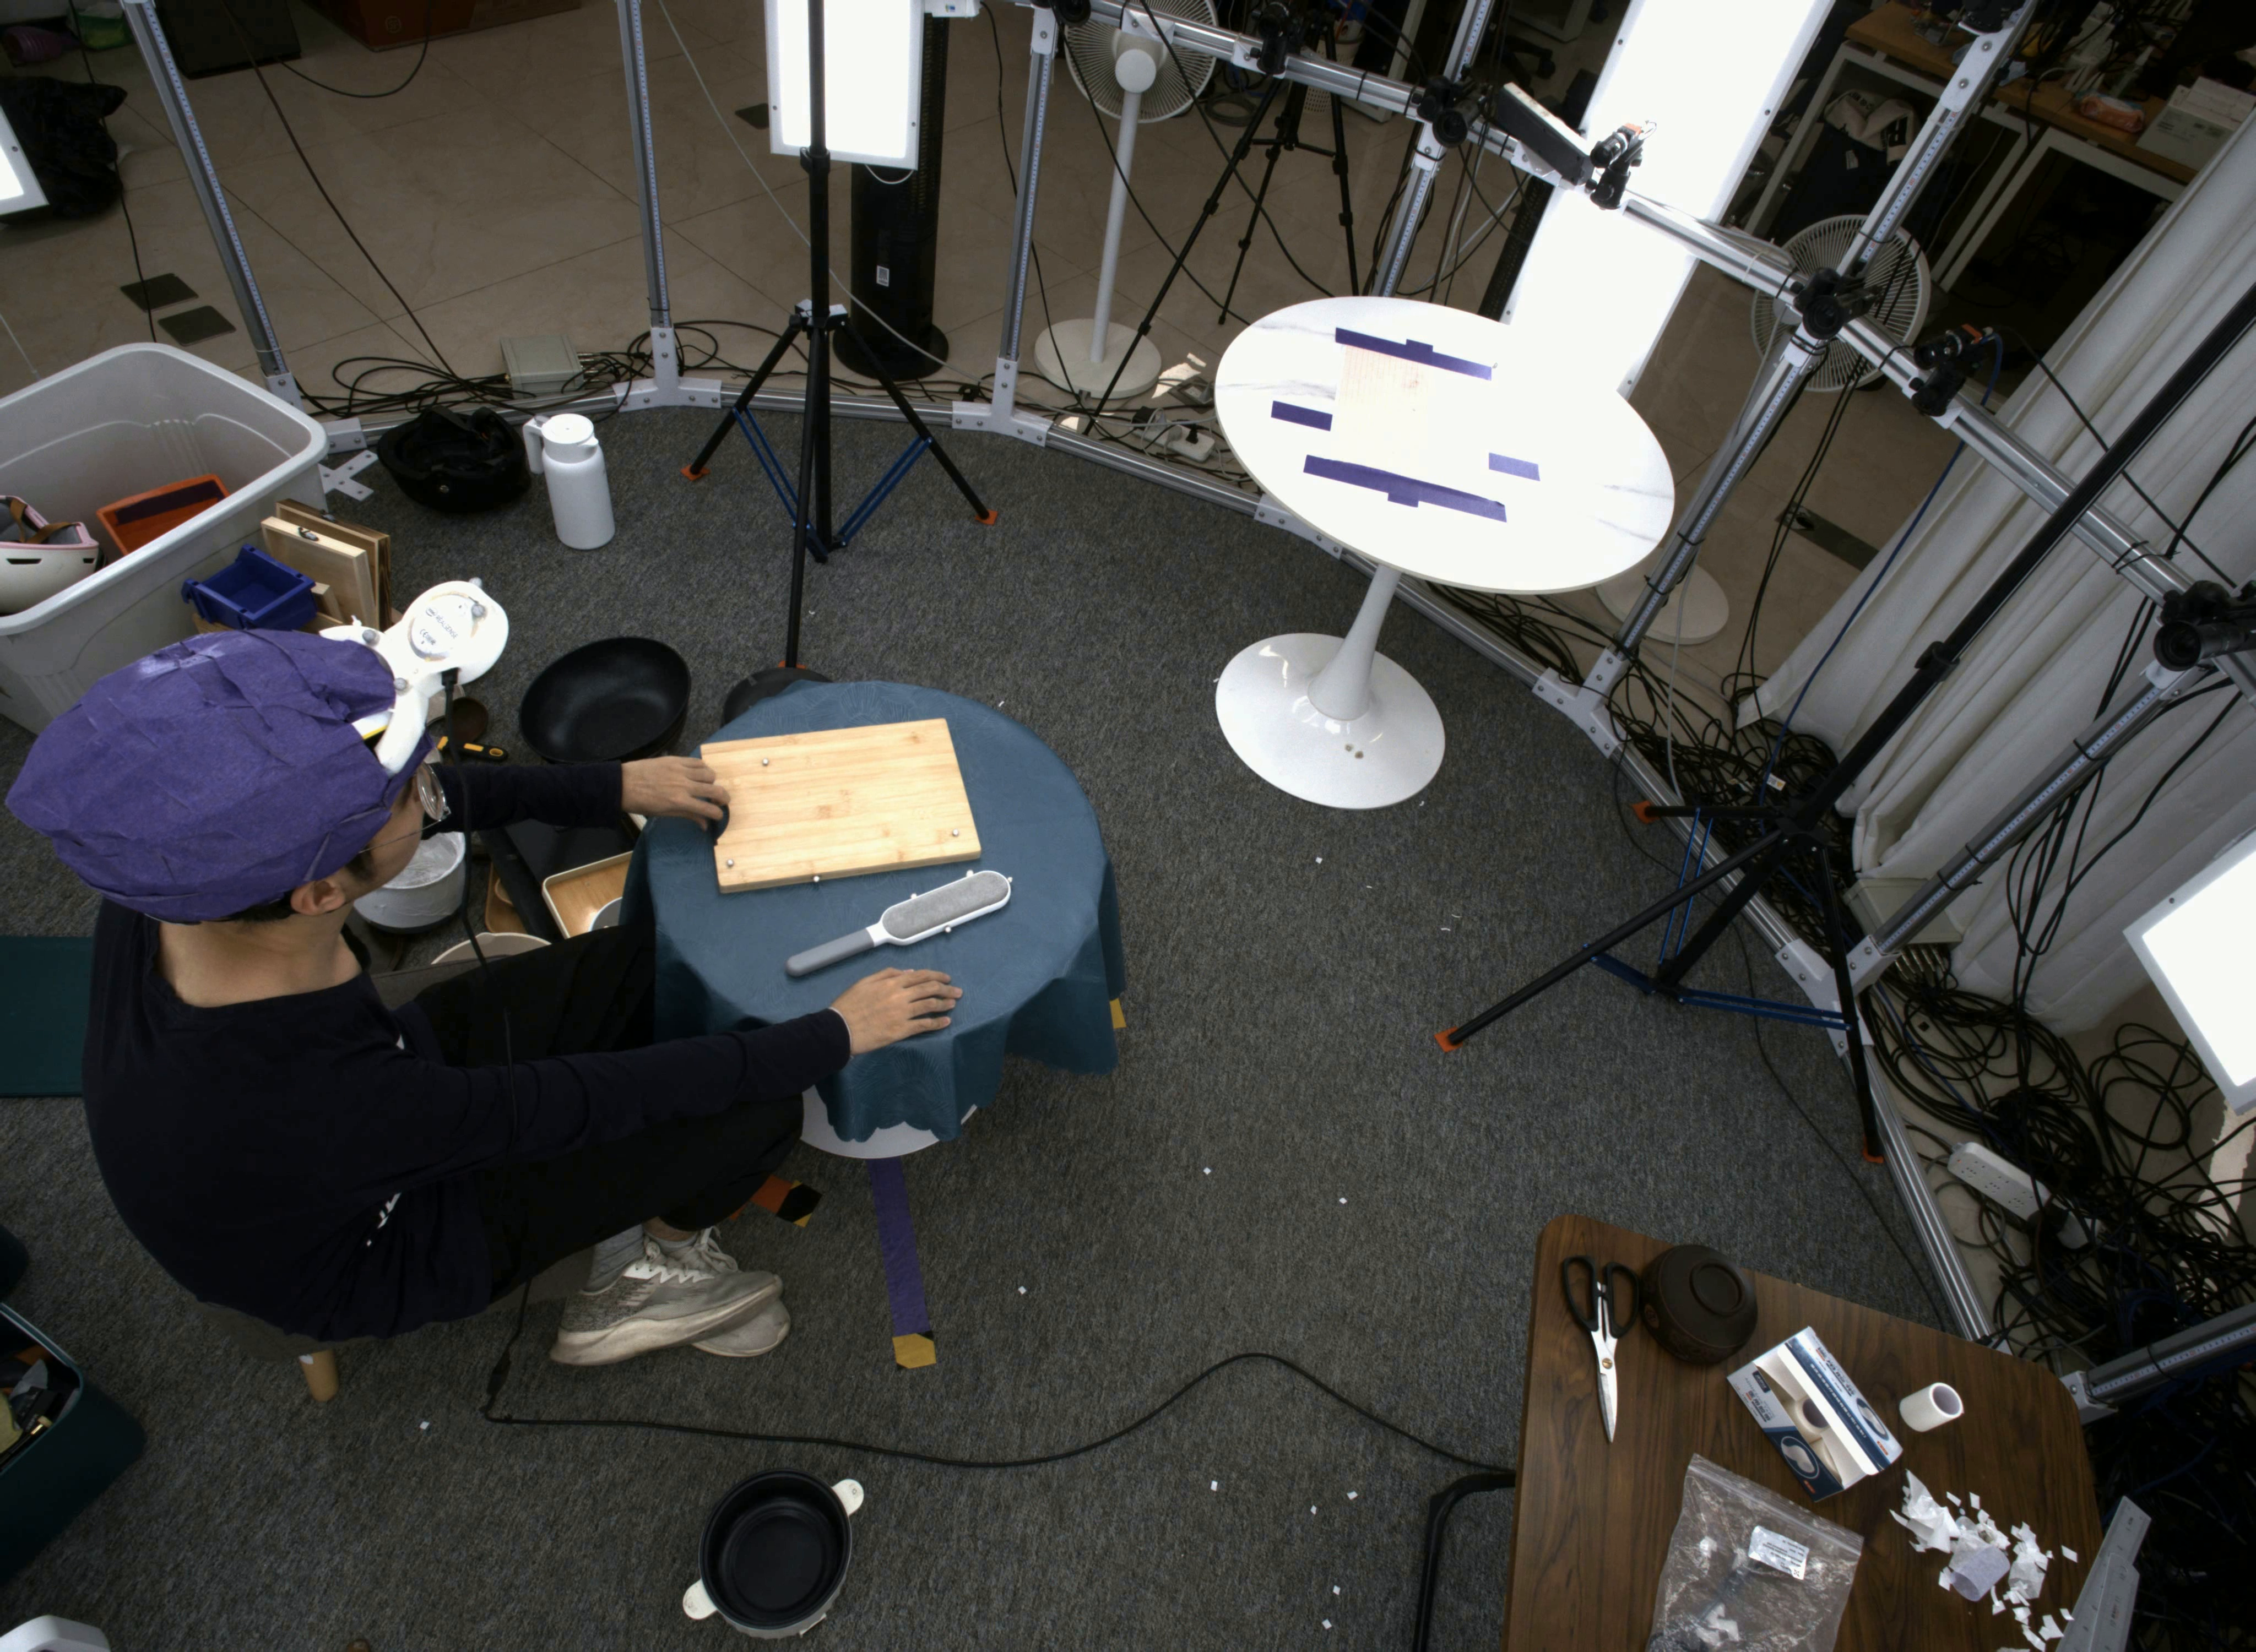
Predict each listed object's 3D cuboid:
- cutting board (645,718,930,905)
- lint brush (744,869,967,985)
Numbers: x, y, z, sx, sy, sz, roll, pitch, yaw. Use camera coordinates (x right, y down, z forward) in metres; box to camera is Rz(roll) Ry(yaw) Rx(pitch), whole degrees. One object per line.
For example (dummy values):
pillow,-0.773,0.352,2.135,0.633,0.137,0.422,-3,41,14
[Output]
cutting board,-0.457,-0.027,1.737,0.350,0.024,0.244,-11,57,-21
lint brush,-0.341,0.126,1.646,0.310,0.021,0.059,-24,68,-28
